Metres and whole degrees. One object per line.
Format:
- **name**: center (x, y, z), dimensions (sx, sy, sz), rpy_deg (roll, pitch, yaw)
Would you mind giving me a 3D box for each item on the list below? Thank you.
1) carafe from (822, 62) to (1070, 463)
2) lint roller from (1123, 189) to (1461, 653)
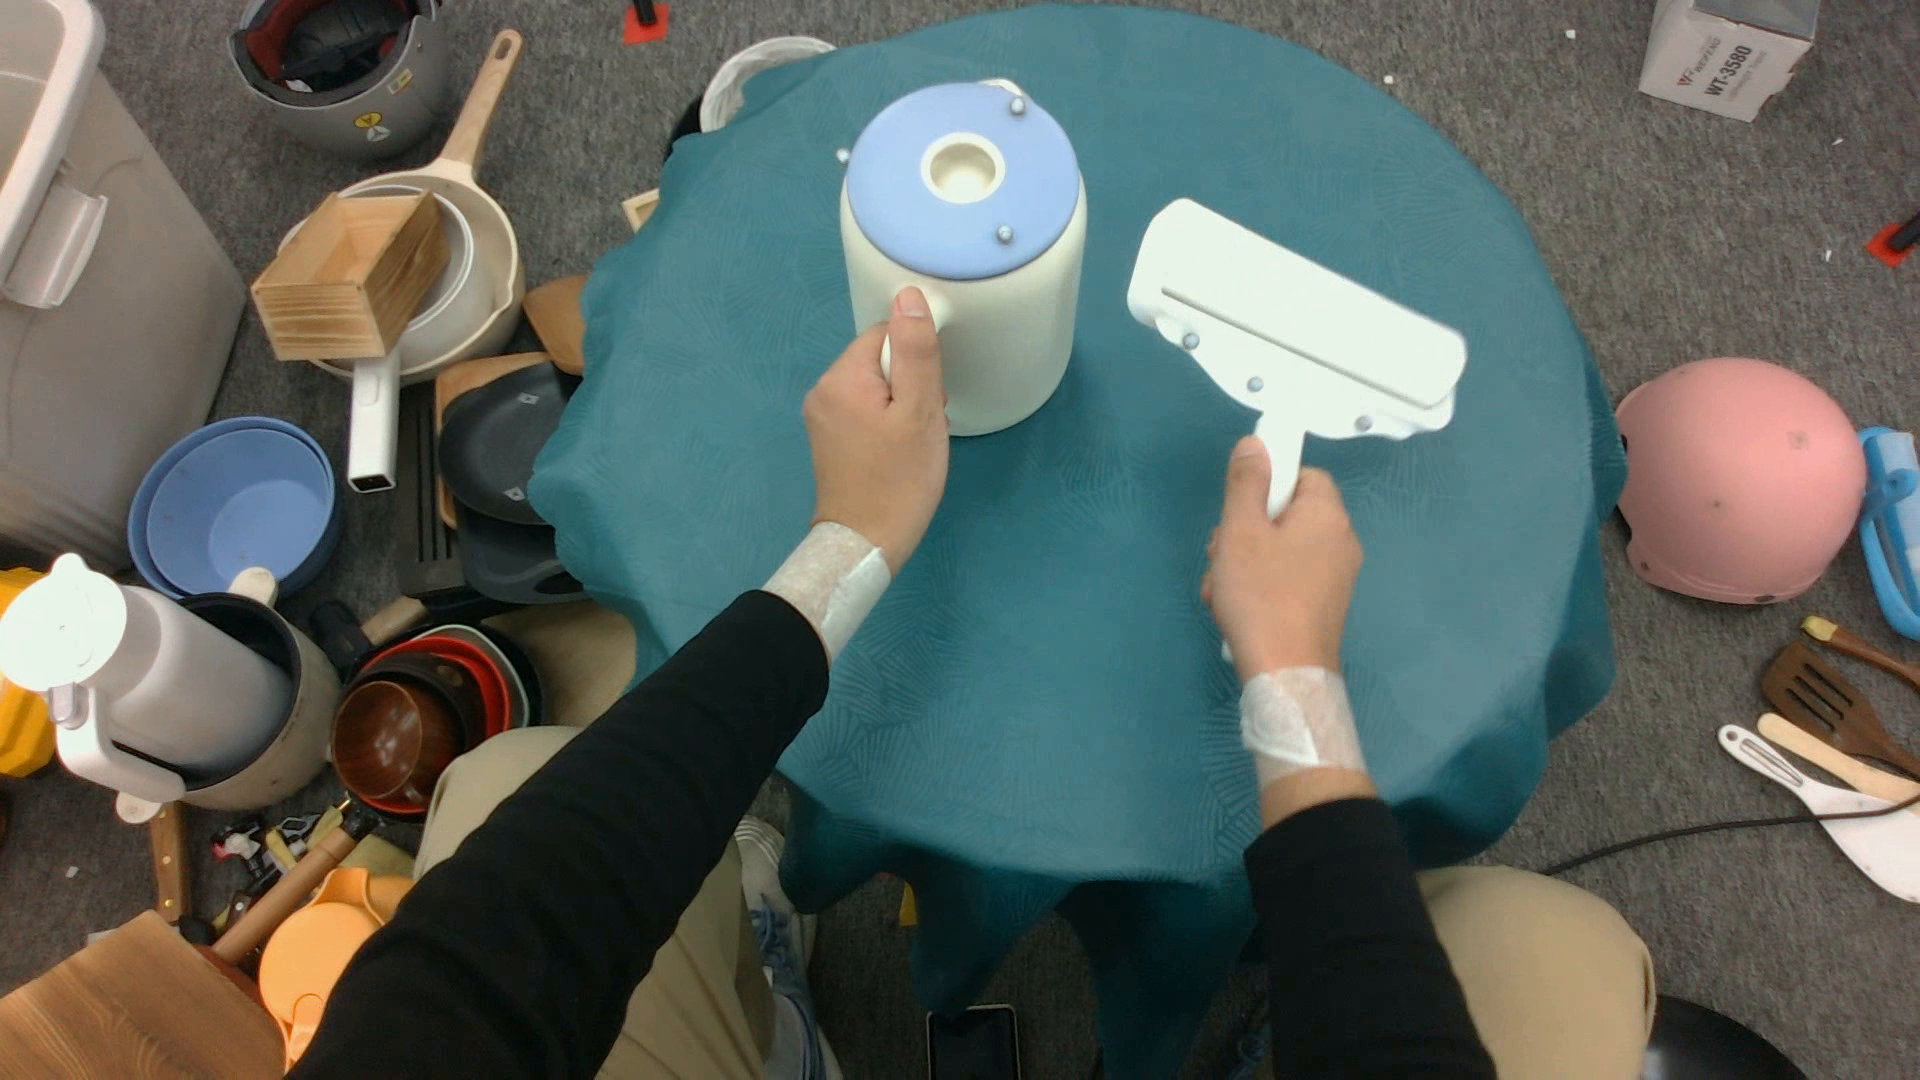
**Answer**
- **carafe**: center (-0.014, -0.138, 0.763), dimensions (0.132, 0.182, 0.191), rpy_deg (15, 70, 7)
- **lint roller**: center (0.165, -0.050, 0.729), dimensions (0.203, 0.048, 0.226), rpy_deg (17, 80, -24)
